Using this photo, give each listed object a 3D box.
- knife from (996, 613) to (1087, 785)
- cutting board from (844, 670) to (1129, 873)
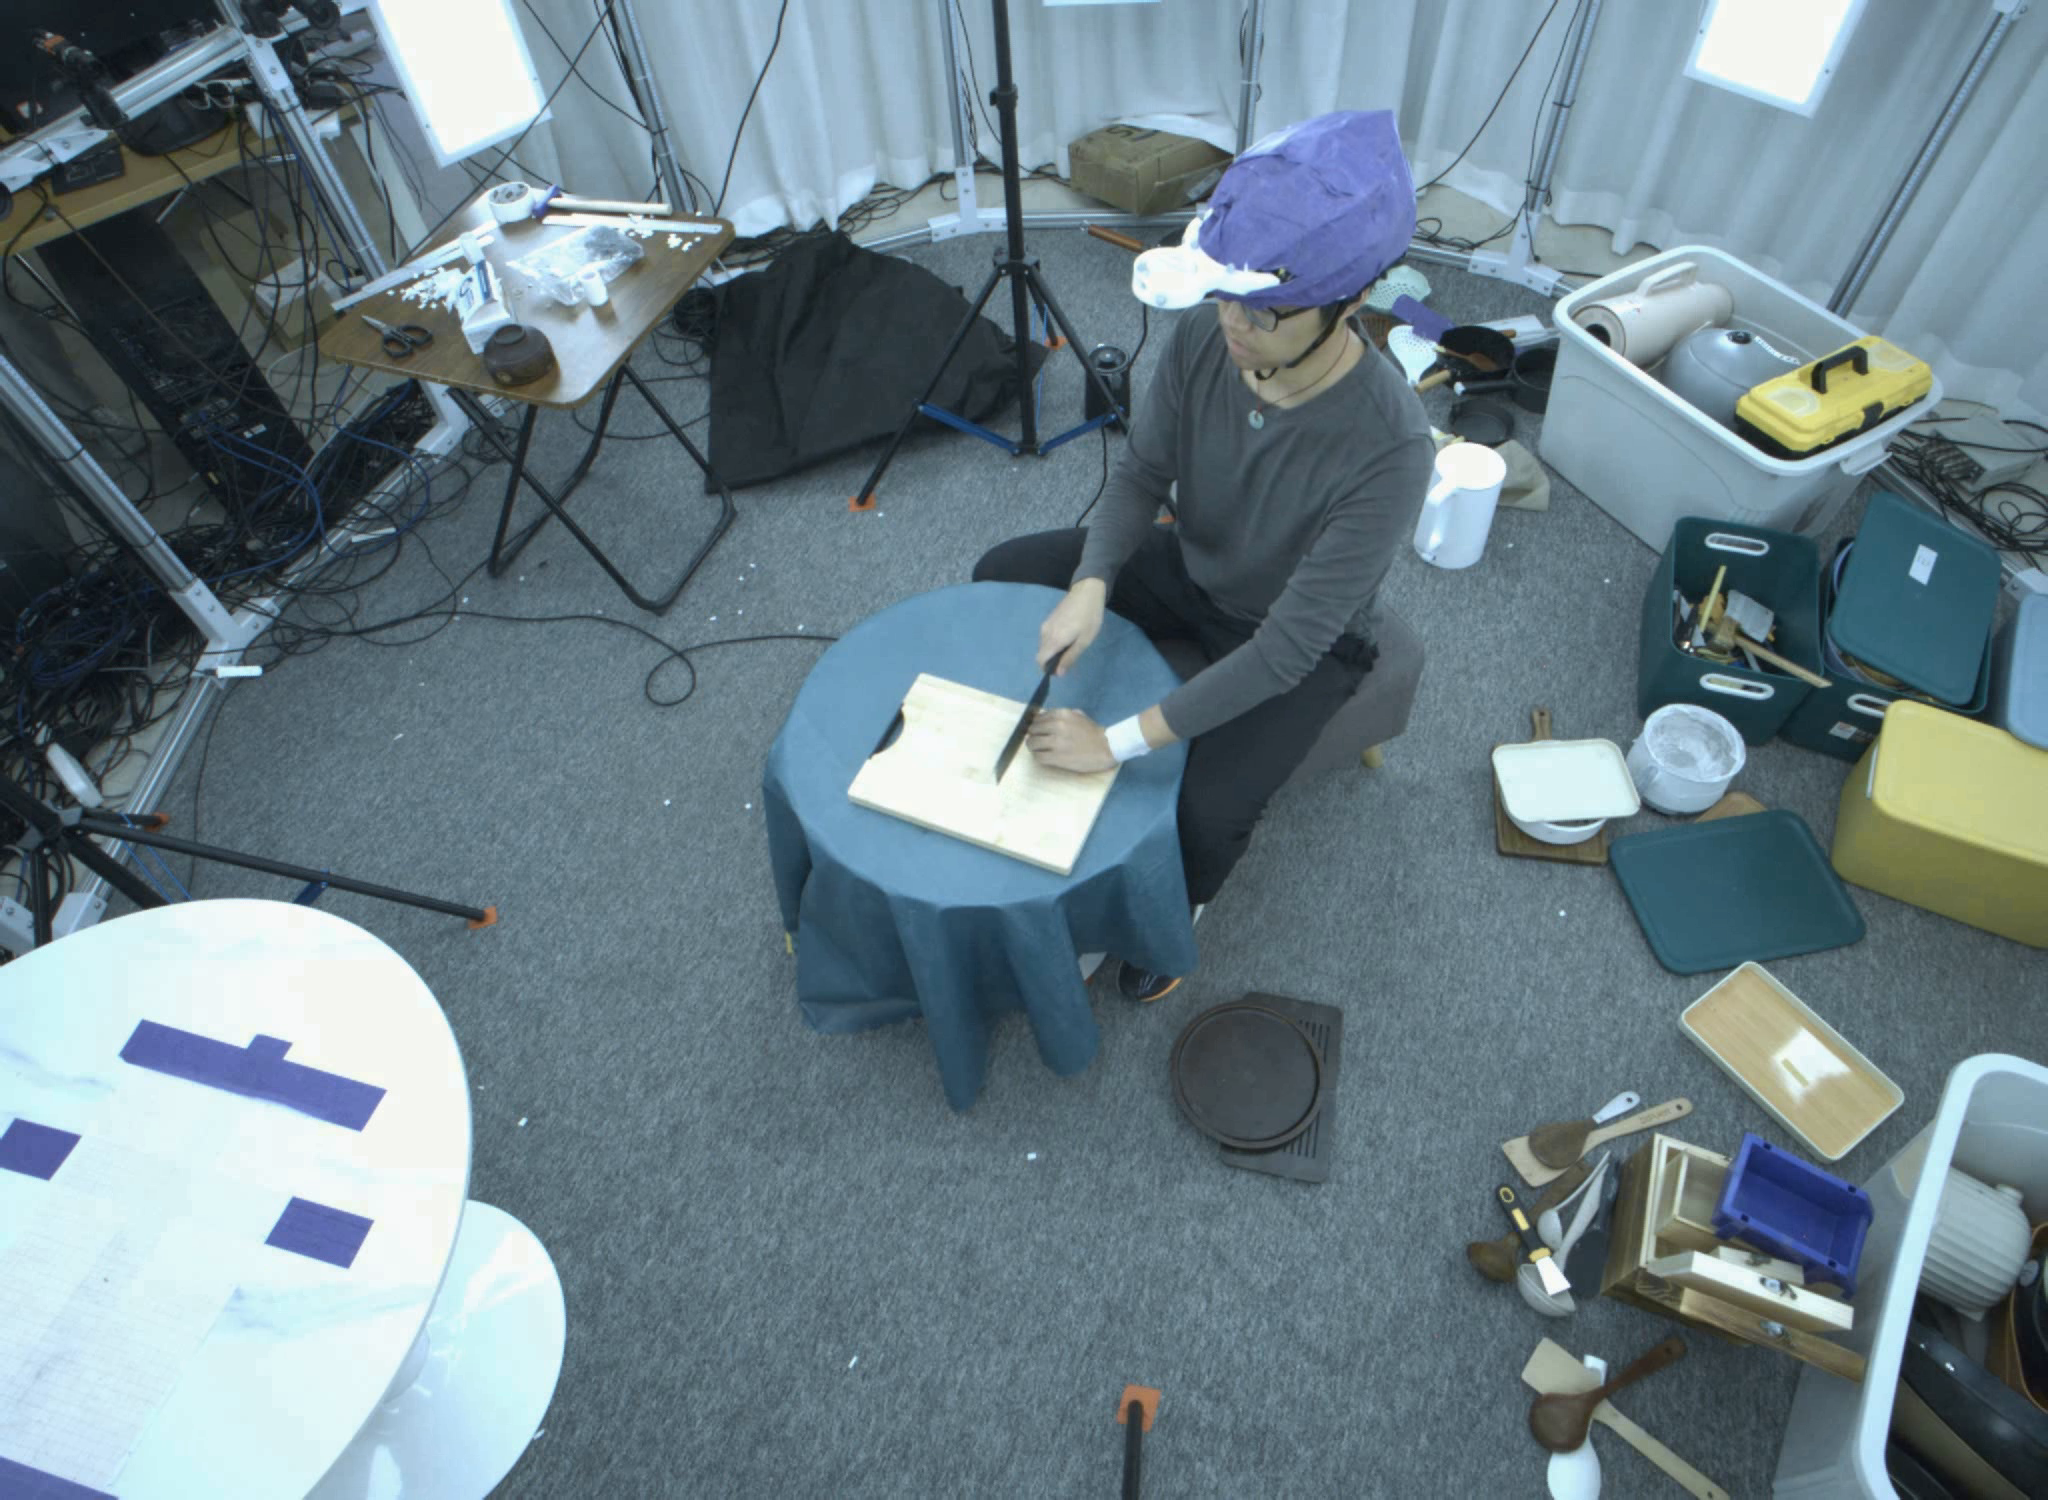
[{"bbox_3d":[0.024,-0.080,1.744,0.020,0.081,0.302,21,62,12],"label":"knife"},{"bbox_3d":[-0.053,0.024,1.769,0.345,0.024,0.250,17,56,13],"label":"cutting board"}]
